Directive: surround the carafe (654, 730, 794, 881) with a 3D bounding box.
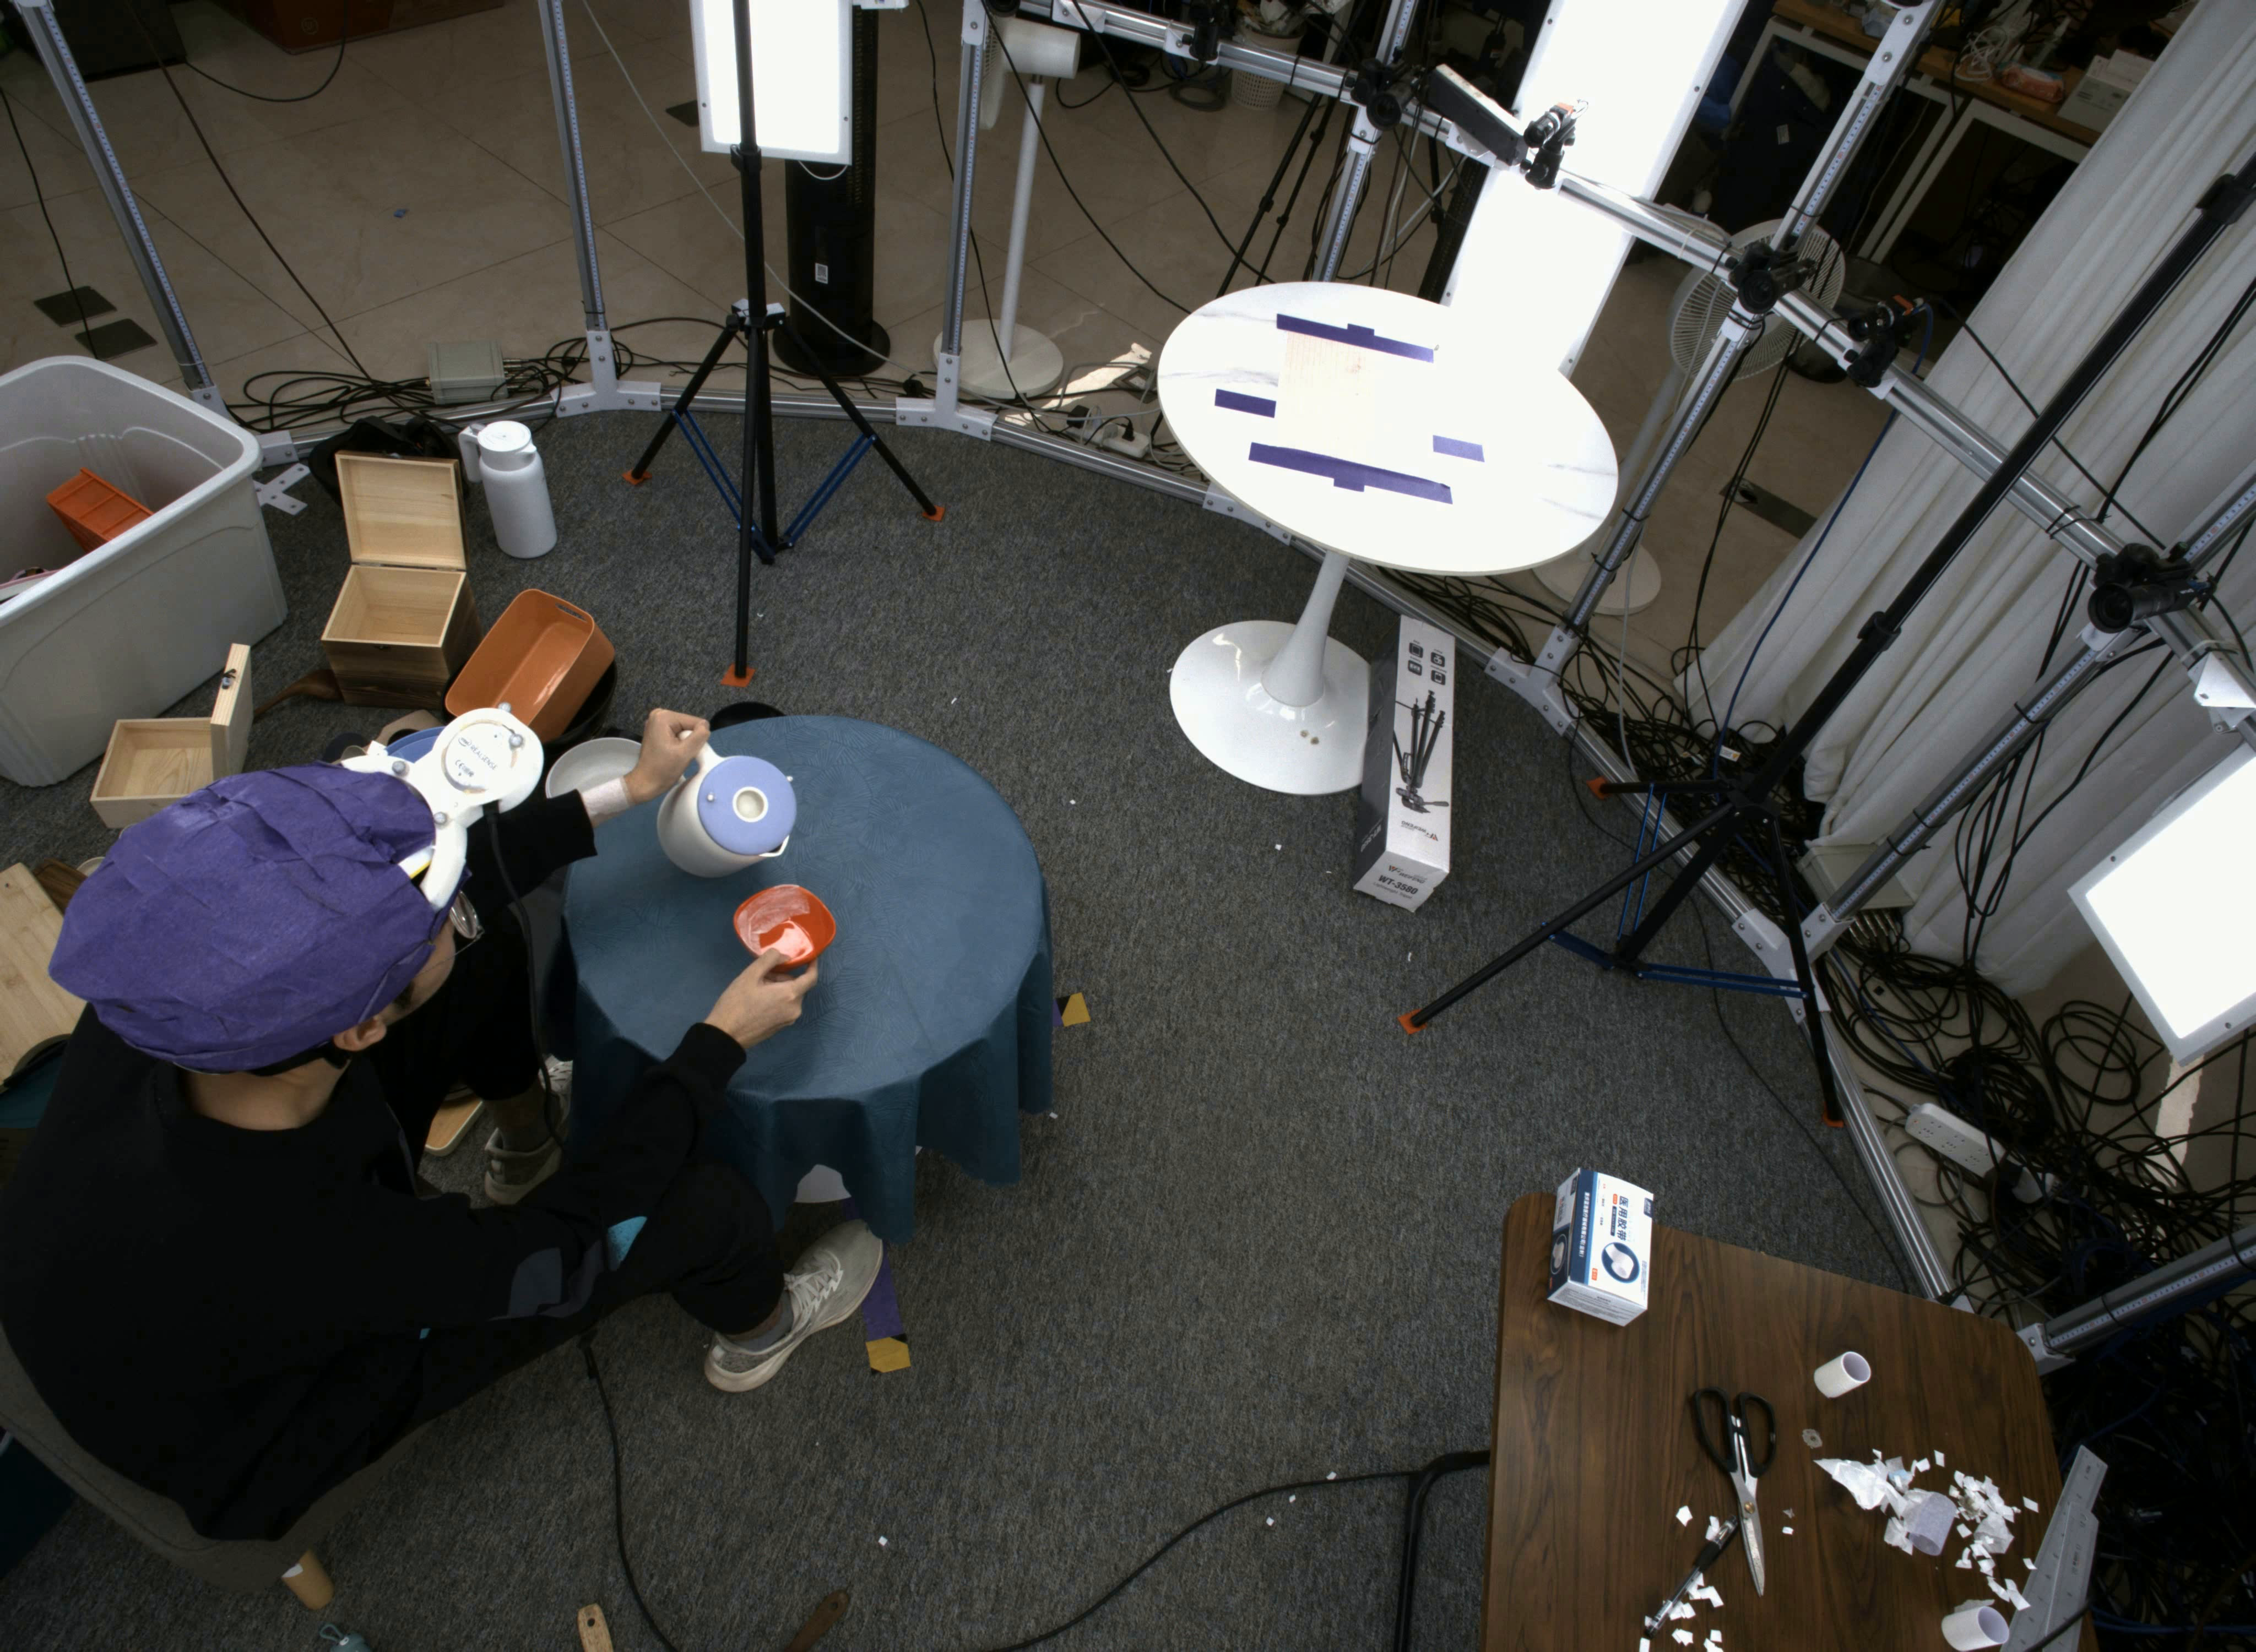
[{"bbox_3d":[-0.505,-0.032,1.567,0.132,0.179,0.195,-44,103,-34],"label":"carafe"}]

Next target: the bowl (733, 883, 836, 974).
[{"bbox_3d":[-0.409,0.128,1.538,0.119,0.052,0.116,13,46,-13],"label":"bowl"}]
